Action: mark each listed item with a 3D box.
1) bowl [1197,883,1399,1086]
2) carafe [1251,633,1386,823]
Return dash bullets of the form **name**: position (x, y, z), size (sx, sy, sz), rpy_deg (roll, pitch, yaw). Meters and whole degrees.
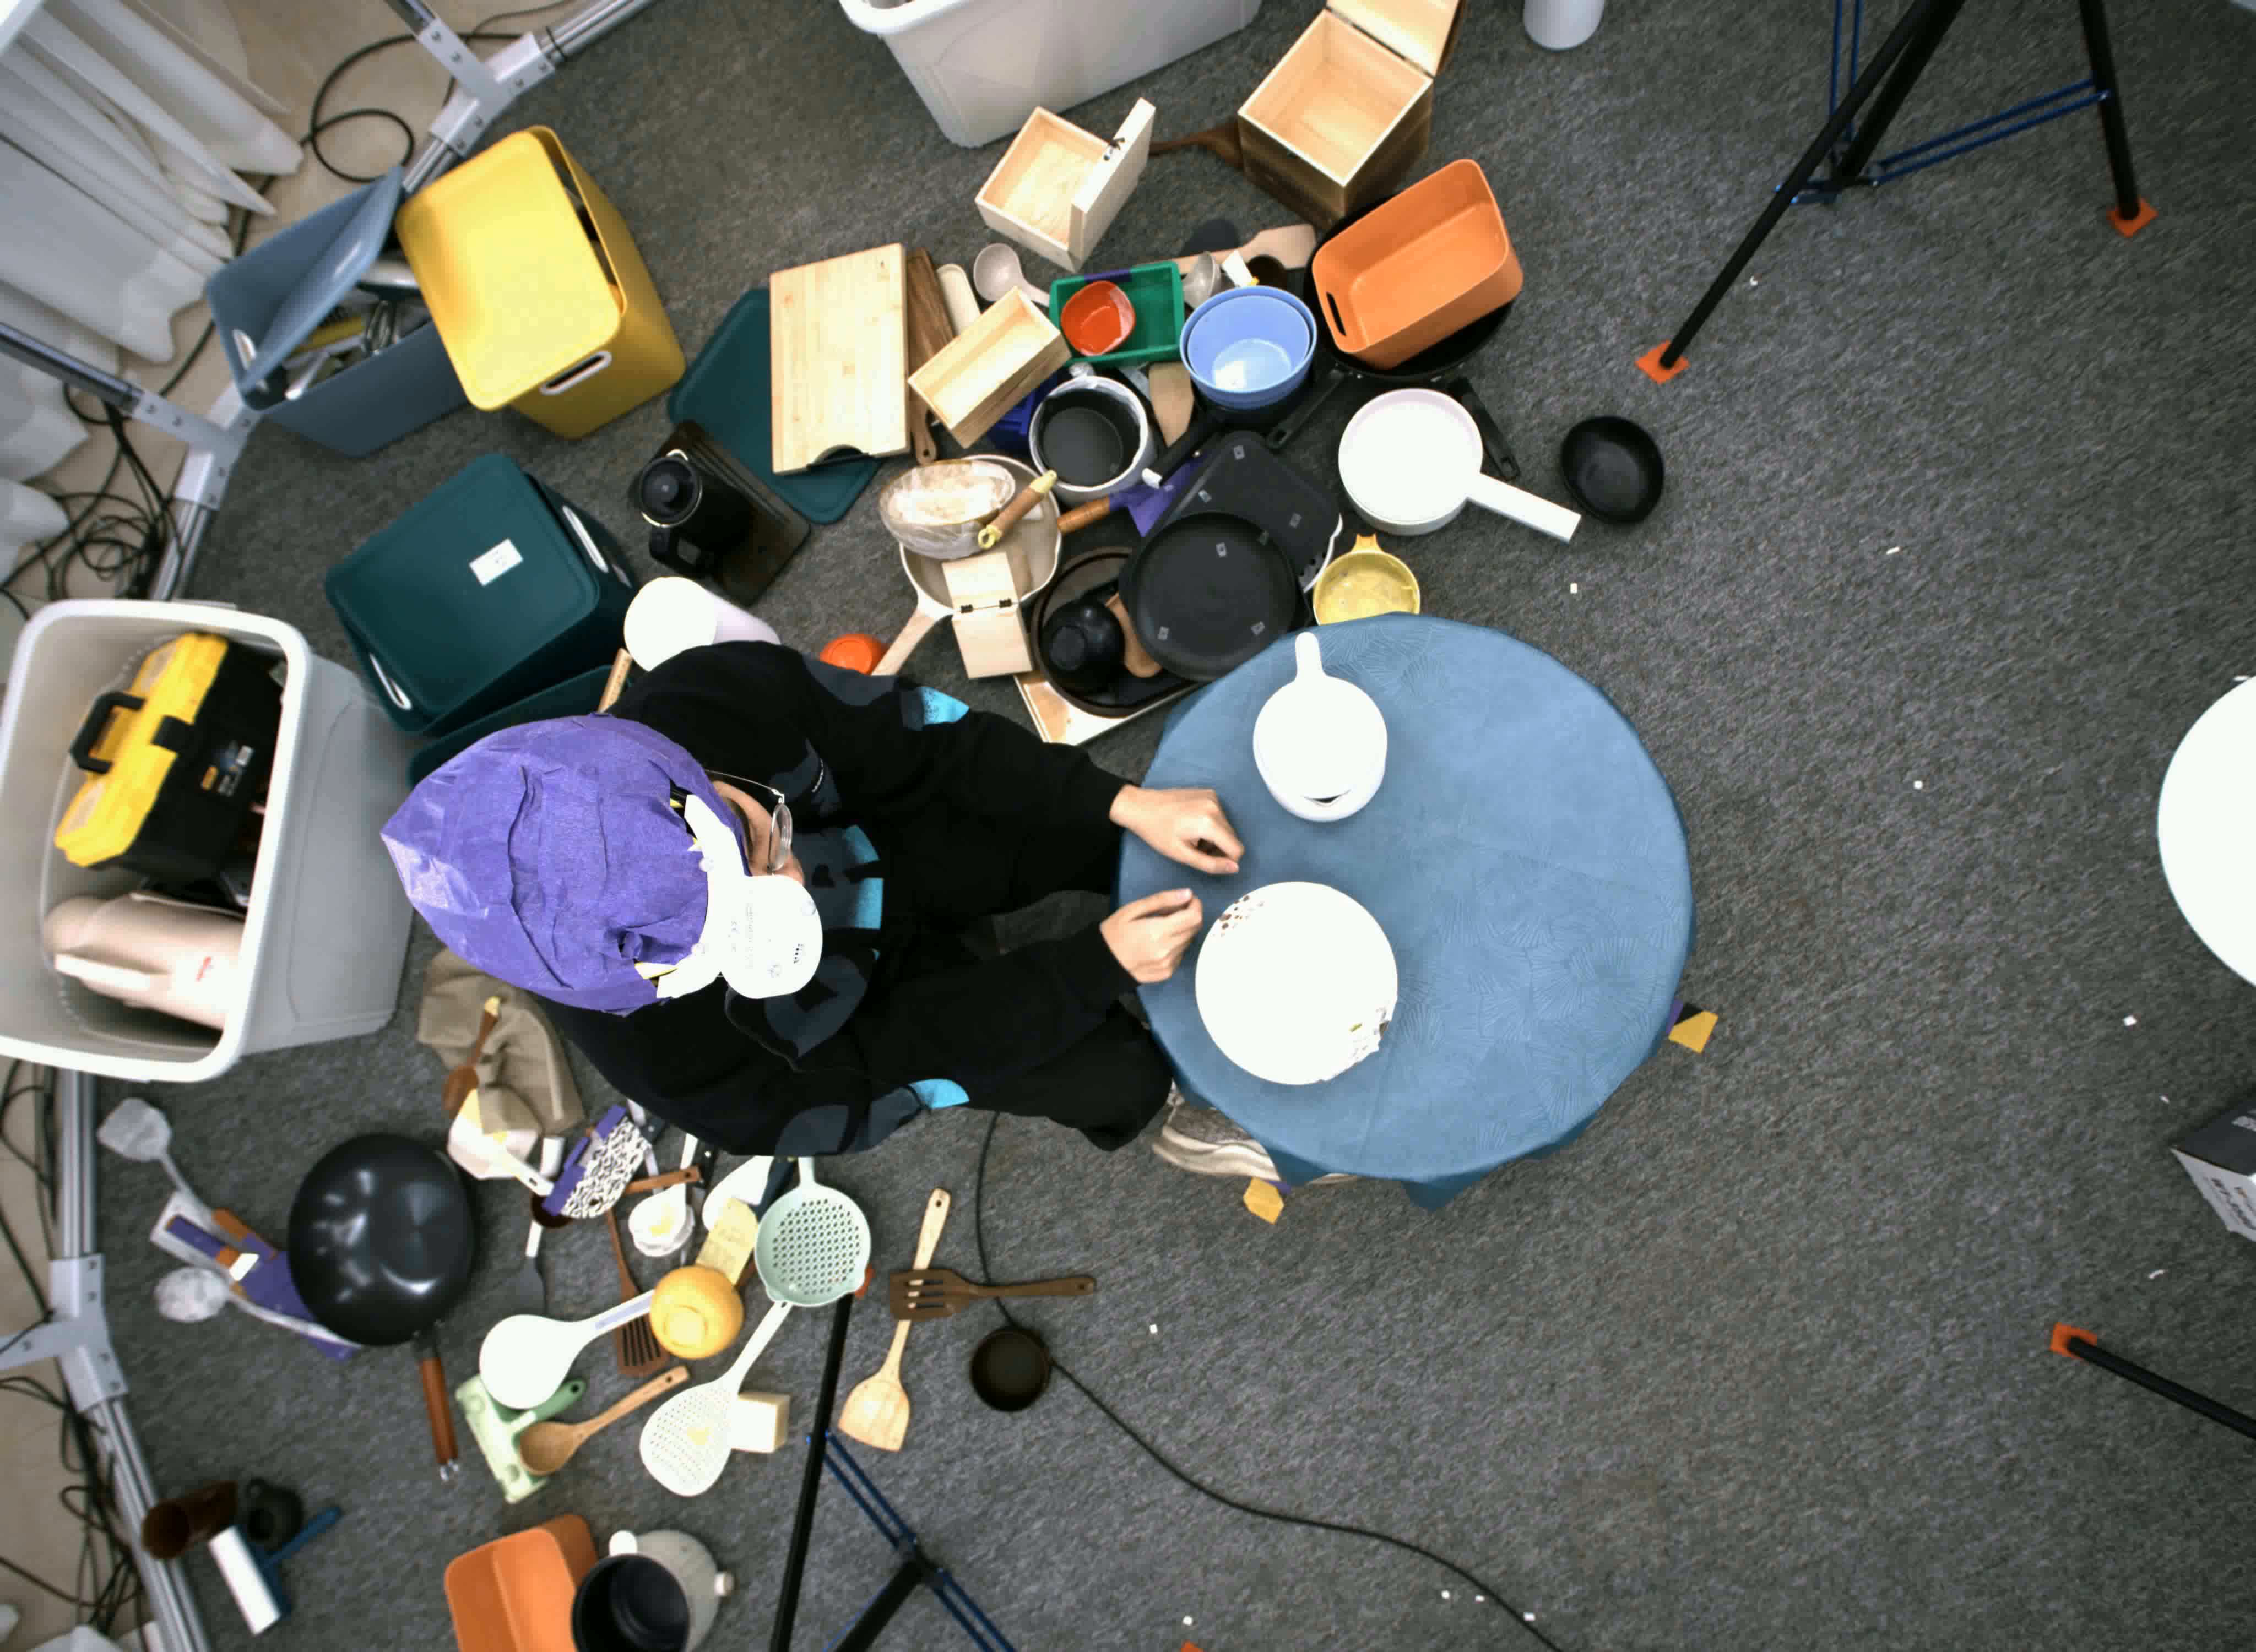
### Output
- **bowl**: position (0.177, 0.163, 1.431), size (0.205, 0.078, 0.203), rpy_deg (-1, 85, 13)
- **carafe**: position (0.189, -0.101, 1.393), size (0.133, 0.183, 0.189), rpy_deg (-10, 82, 8)
